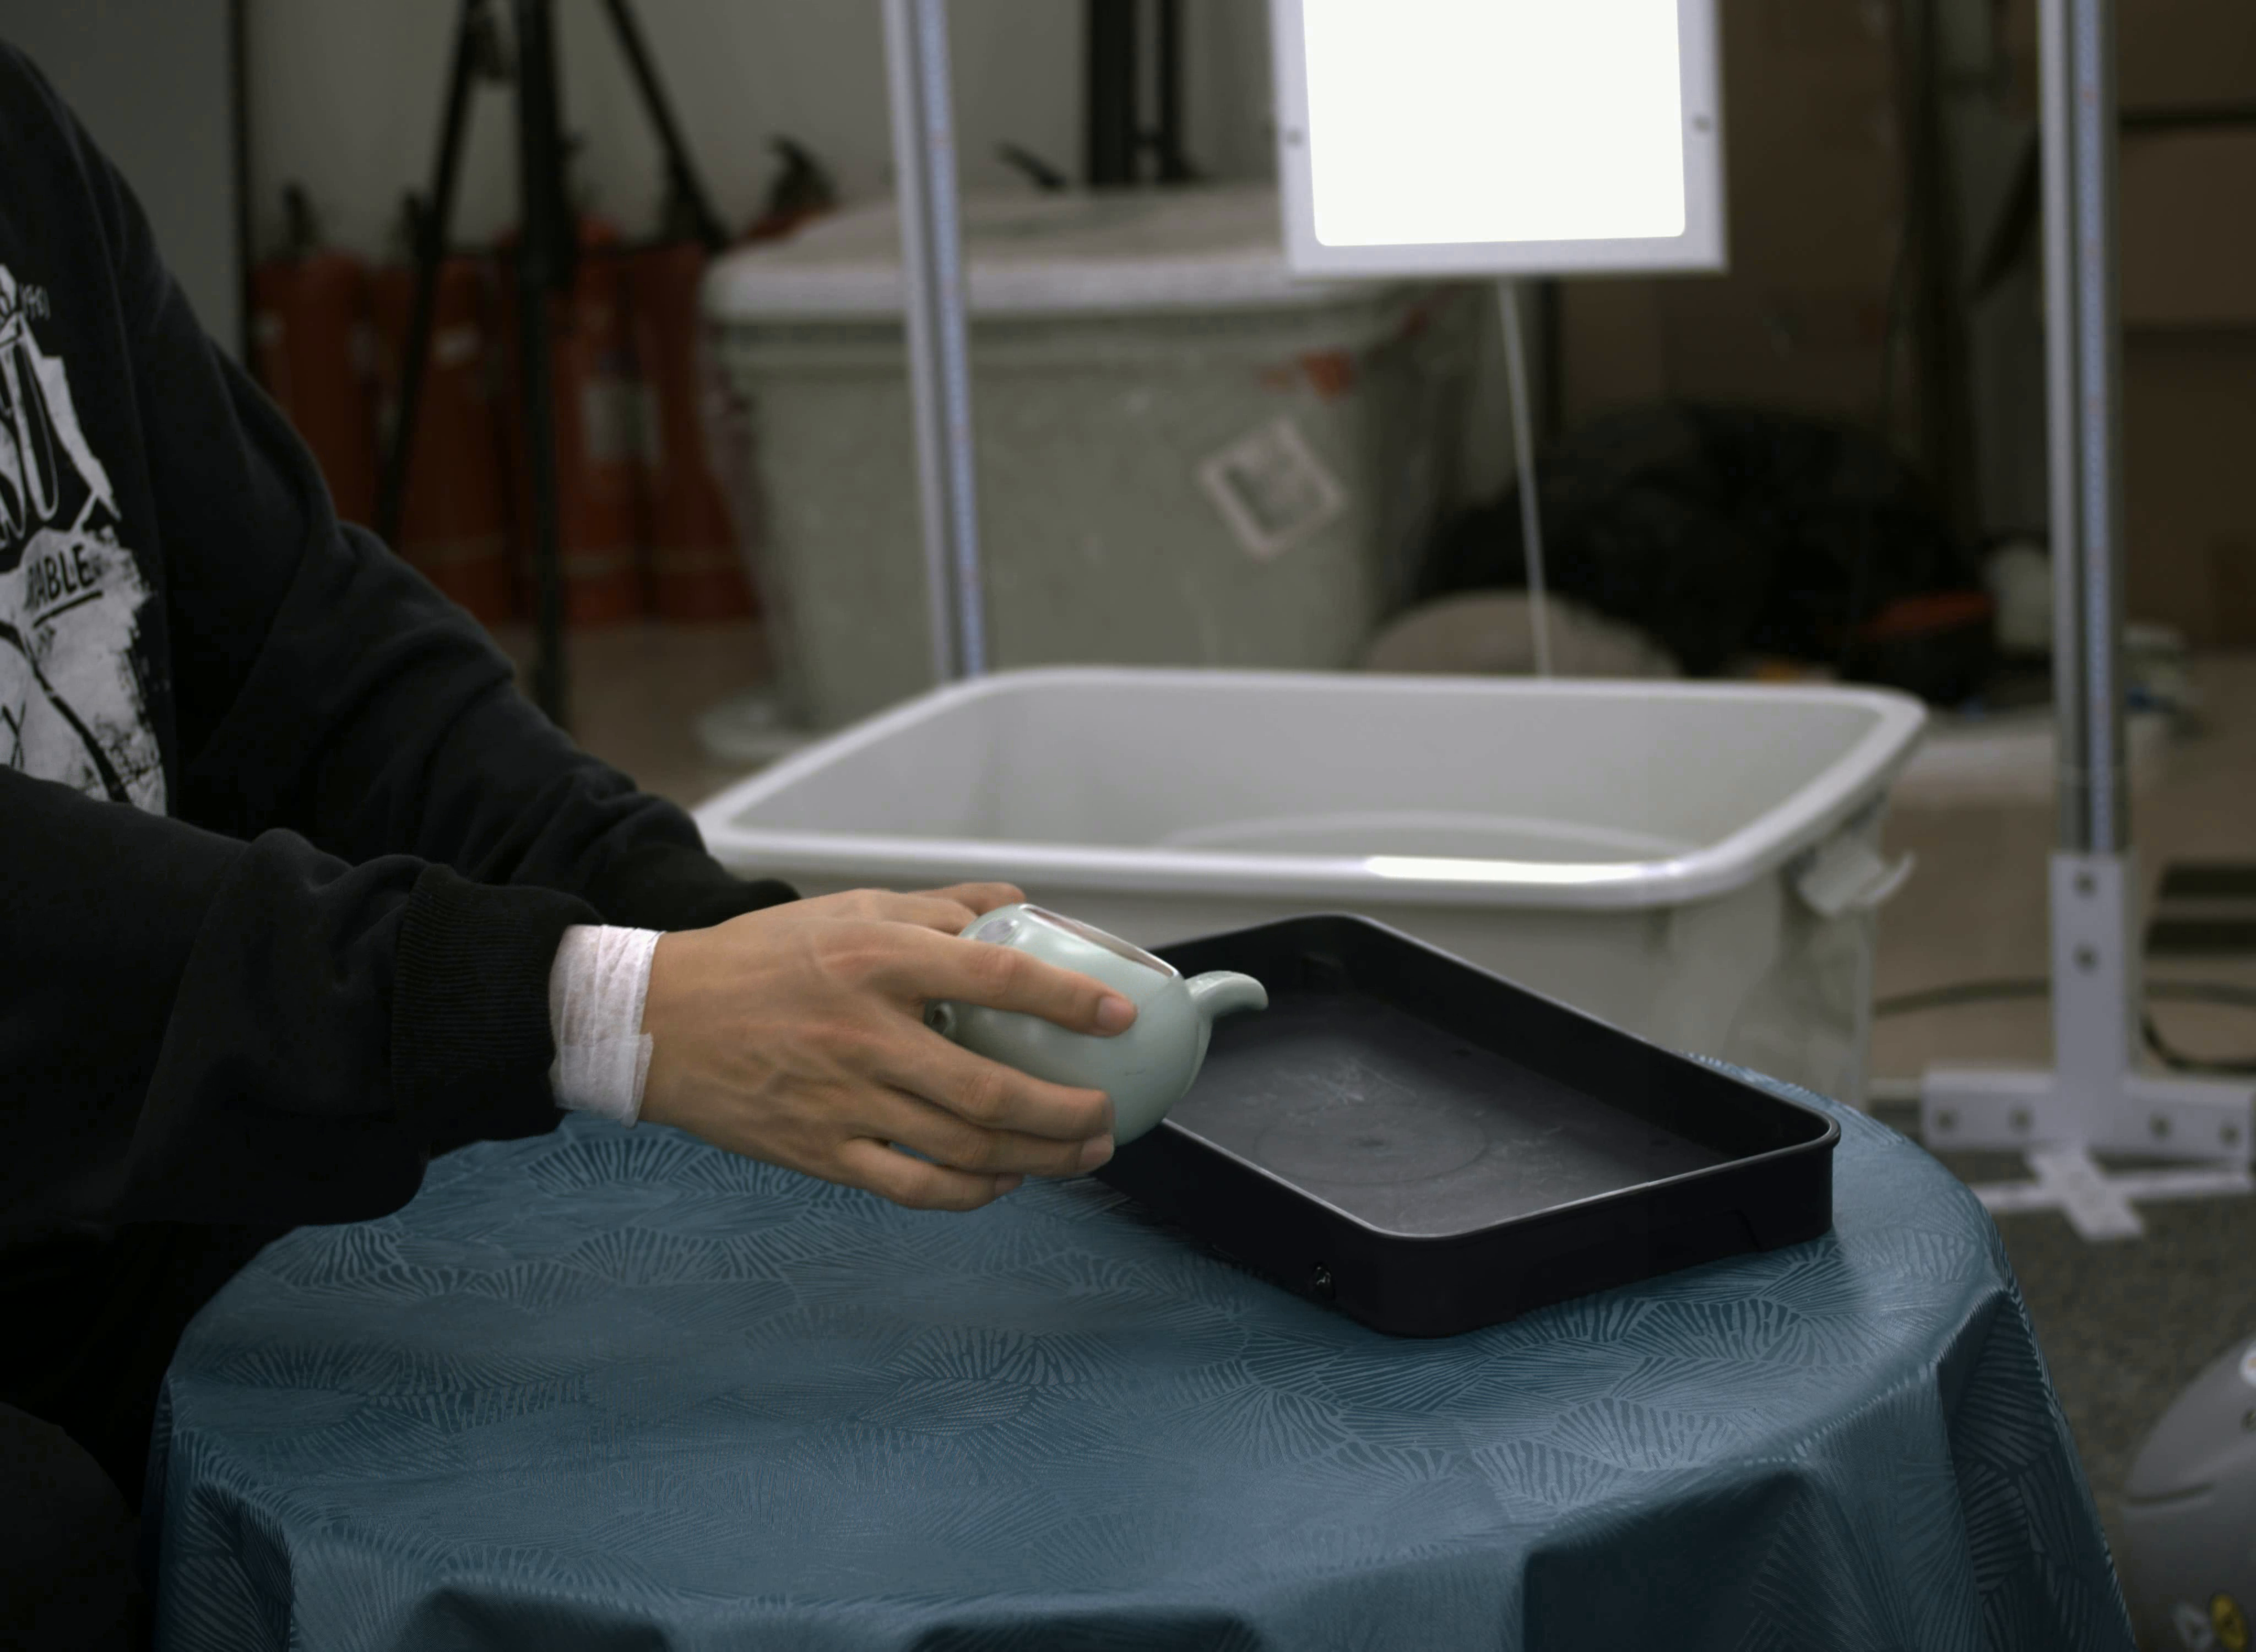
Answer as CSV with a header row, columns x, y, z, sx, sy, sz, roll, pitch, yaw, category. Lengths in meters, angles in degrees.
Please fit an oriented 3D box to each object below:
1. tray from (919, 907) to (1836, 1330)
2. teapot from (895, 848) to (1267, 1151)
x,y,z,sx,sy,sz,roll,pitch,yaw,category
0.080,0.095,1.887,0.180,0.037,0.324,-13,19,-30,tray
-0.021,0.061,1.748,0.141,0.075,0.090,25,2,-34,teapot
